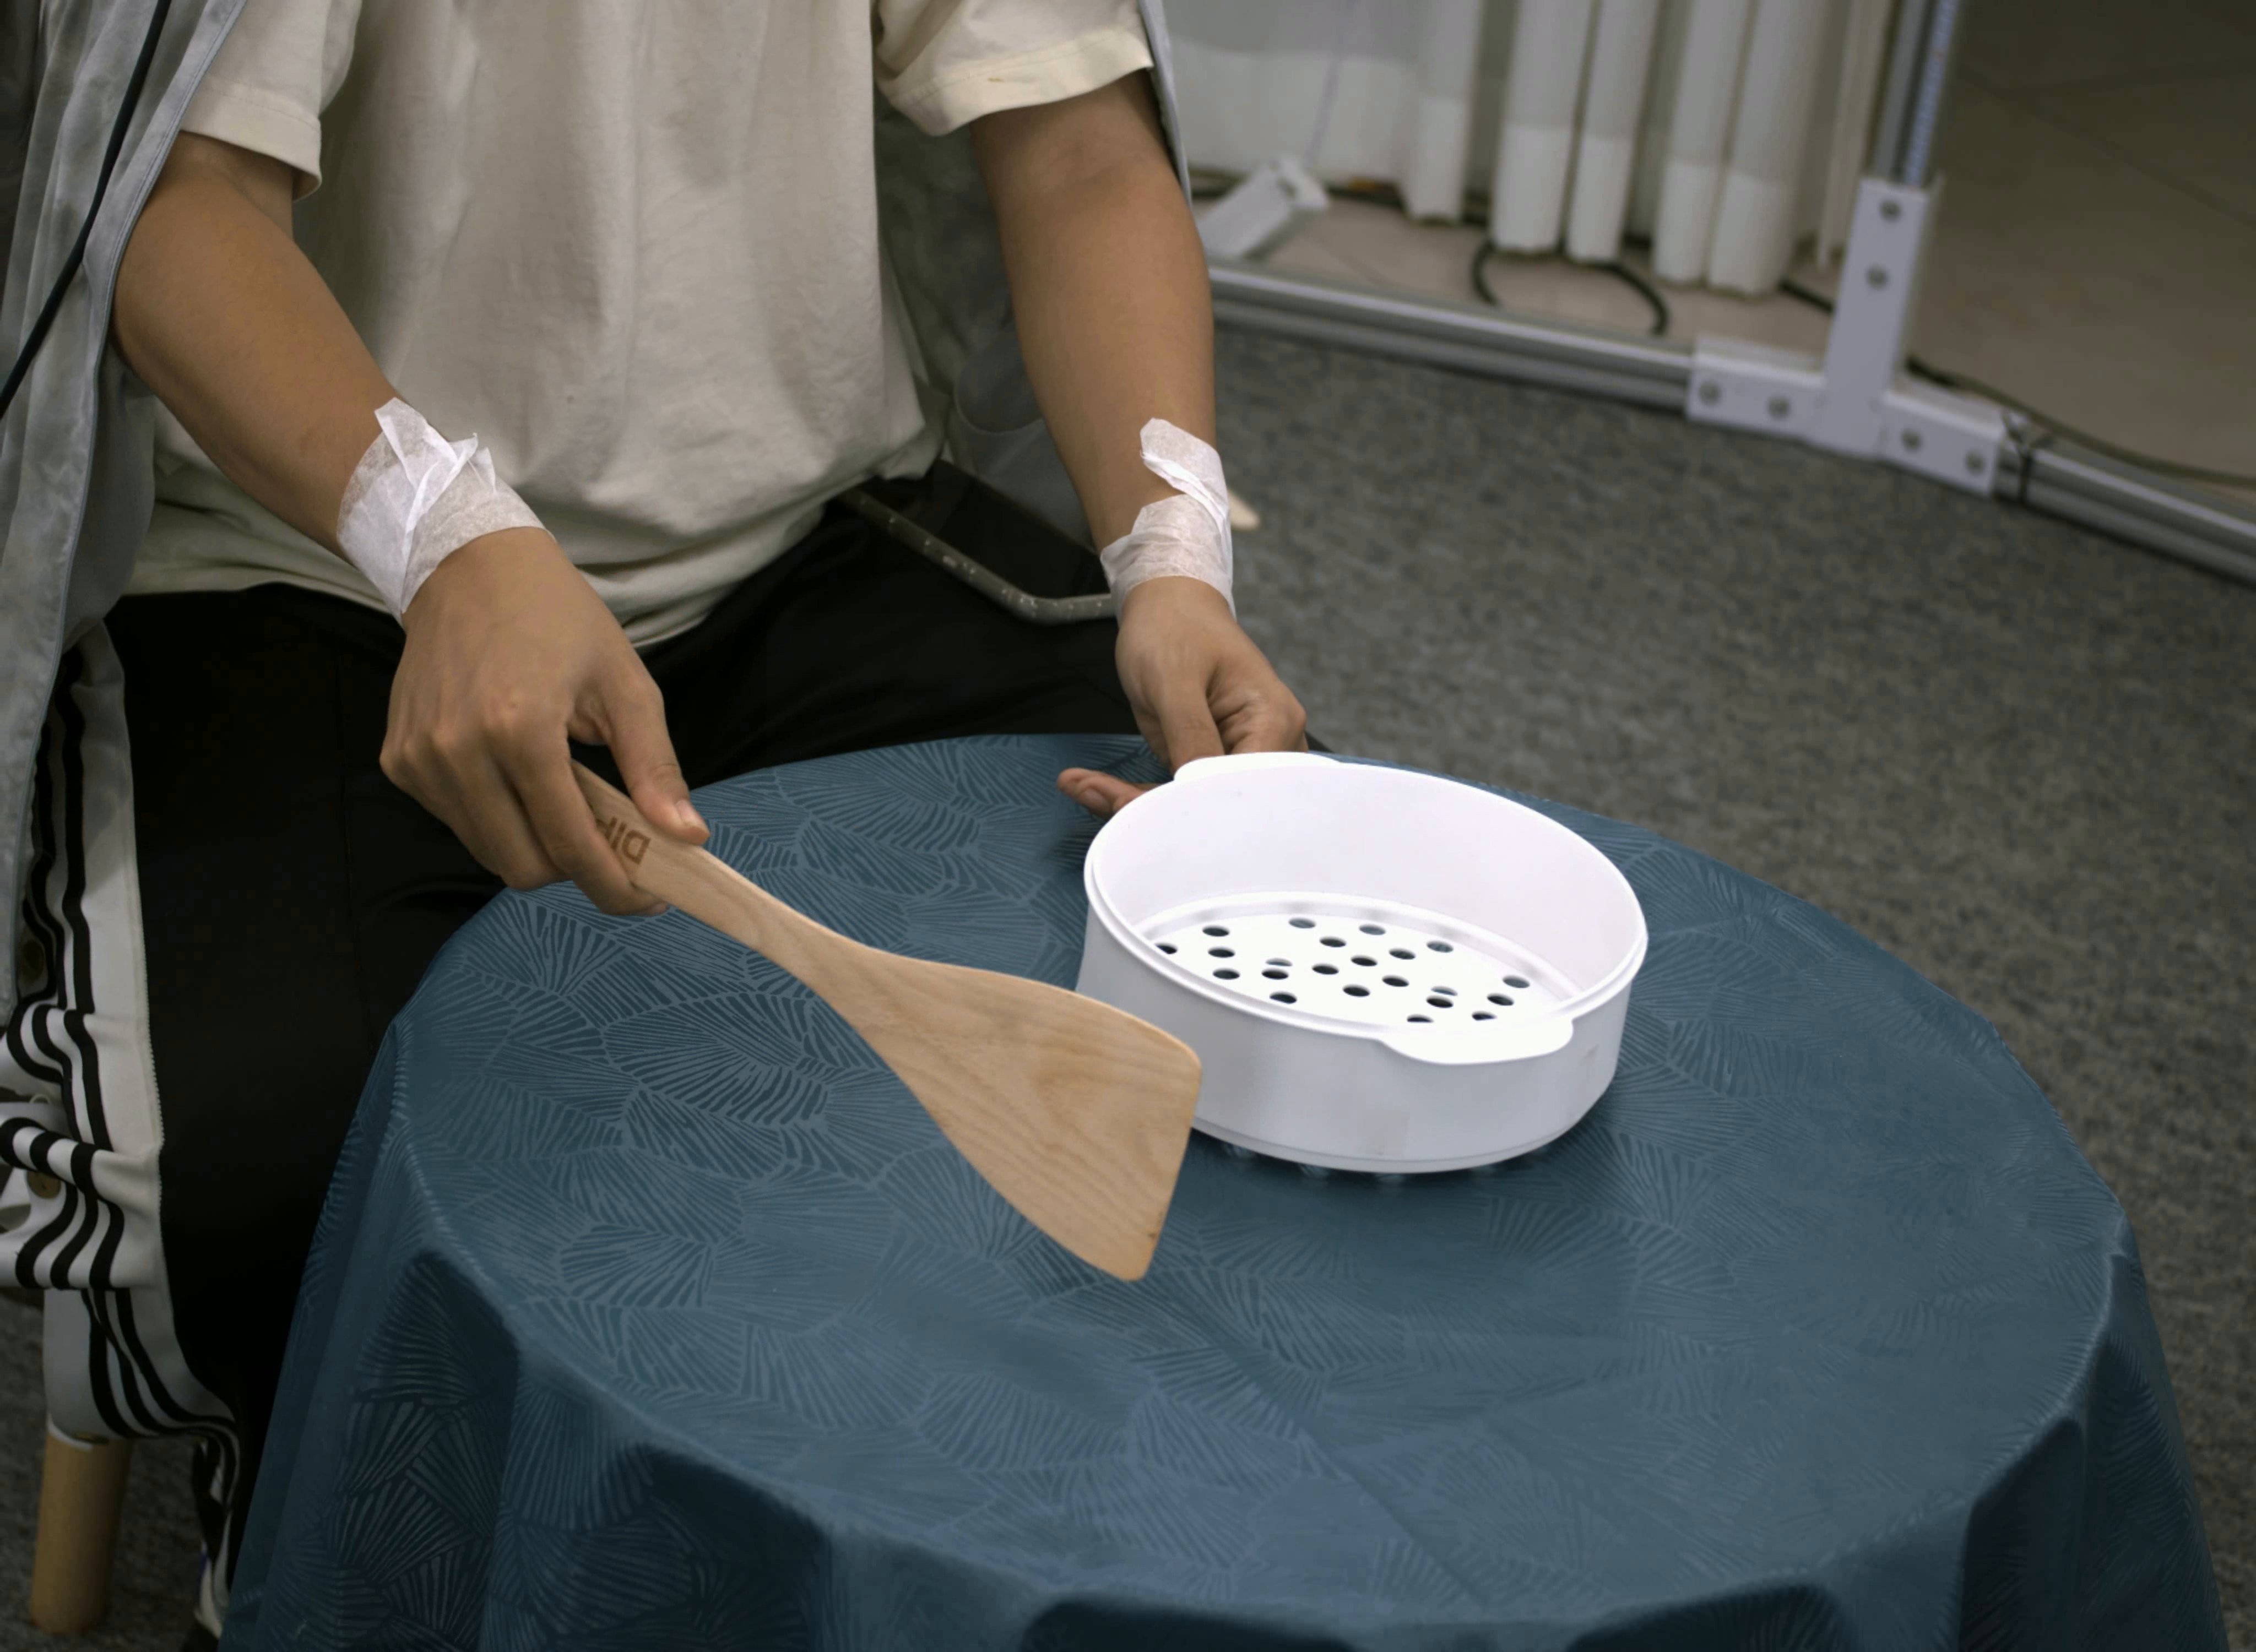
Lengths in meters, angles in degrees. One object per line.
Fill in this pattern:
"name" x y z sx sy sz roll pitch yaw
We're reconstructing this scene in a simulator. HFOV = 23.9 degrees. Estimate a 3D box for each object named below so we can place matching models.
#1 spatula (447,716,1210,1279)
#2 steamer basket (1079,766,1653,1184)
"spatula" -0.105 0.041 1.763 0.329 0.080 0.016 29 11 25
"steamer basket" 0.082 0.054 1.888 0.200 0.069 0.232 -3 28 -21
